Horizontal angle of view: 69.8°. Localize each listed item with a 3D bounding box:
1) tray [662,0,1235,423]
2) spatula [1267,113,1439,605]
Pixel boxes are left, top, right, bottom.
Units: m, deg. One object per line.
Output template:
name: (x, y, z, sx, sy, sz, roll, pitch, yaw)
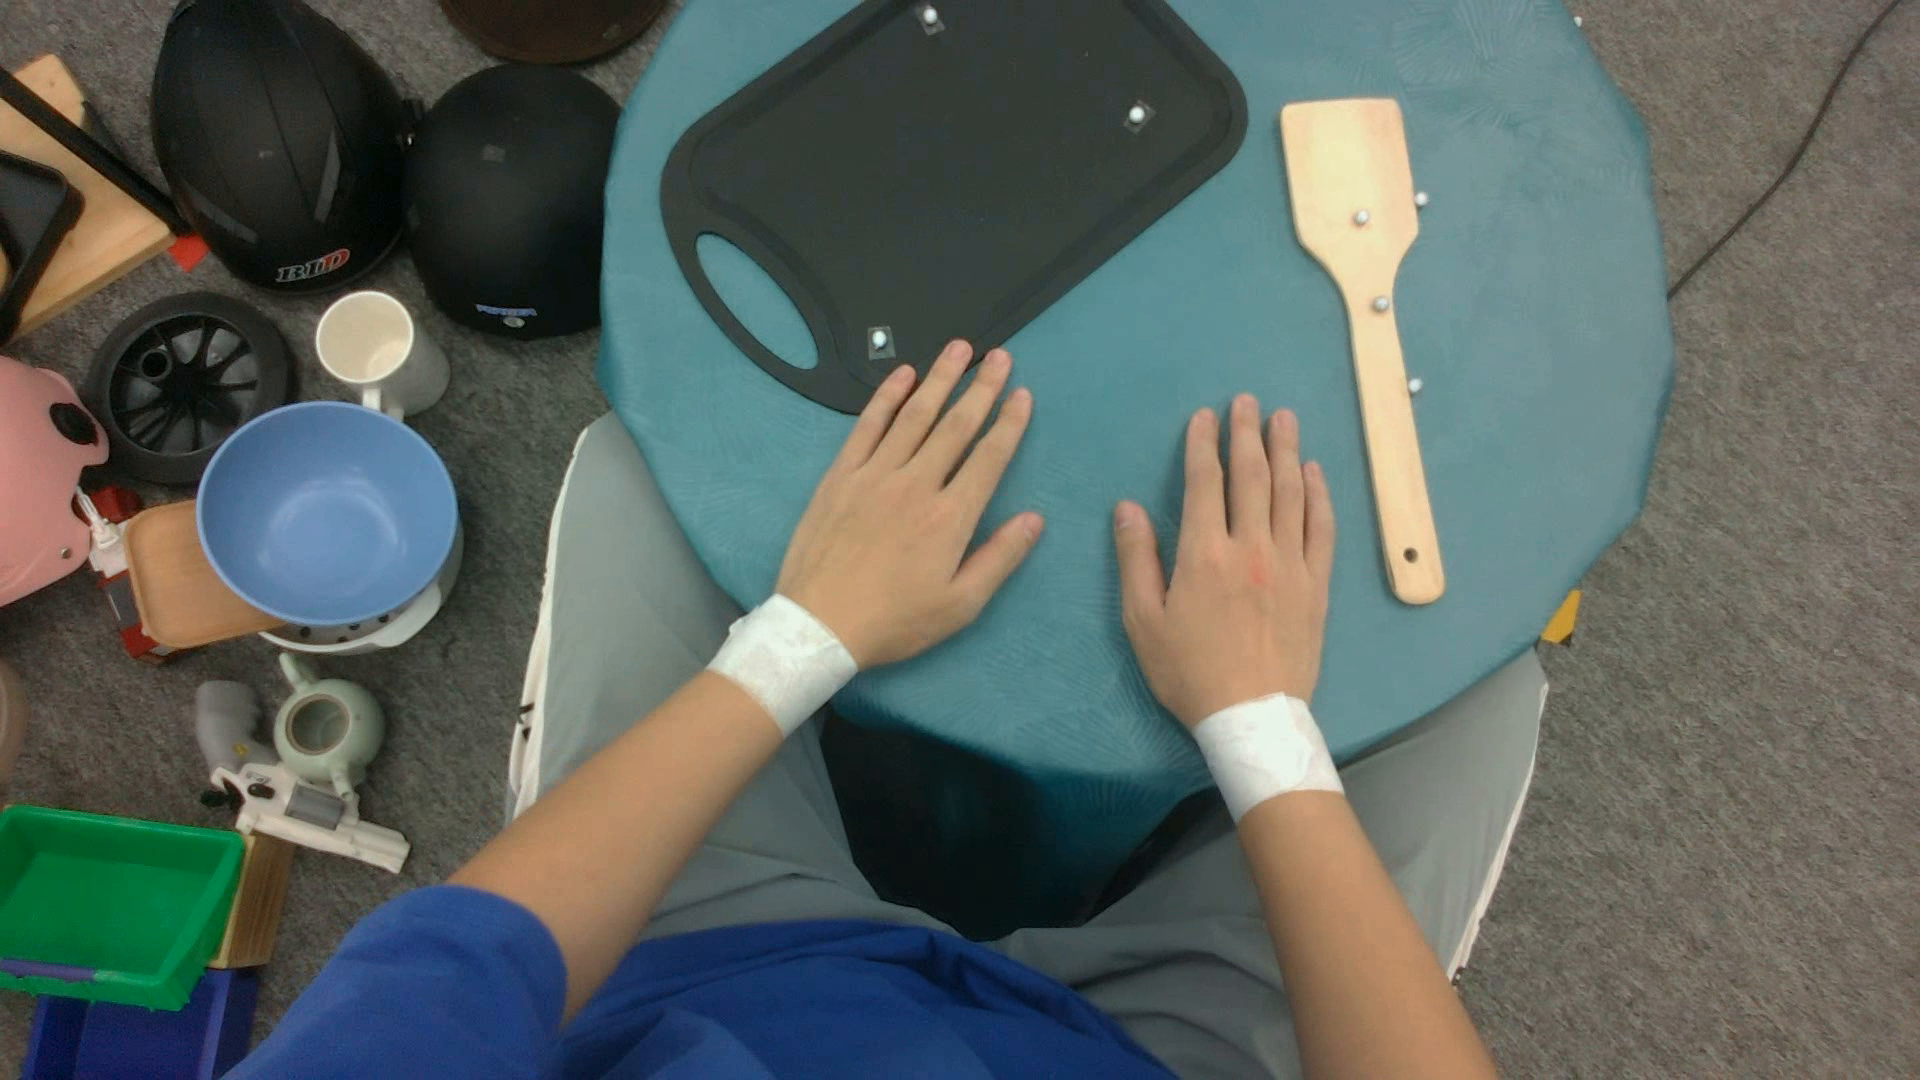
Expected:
tray: (-0.010, -0.214, 0.793, 0.326, 0.010, 0.211, -40, 80, -10)
spatula: (0.230, -0.107, 0.772, 0.072, 0.010, 0.293, -5, 76, -4)
